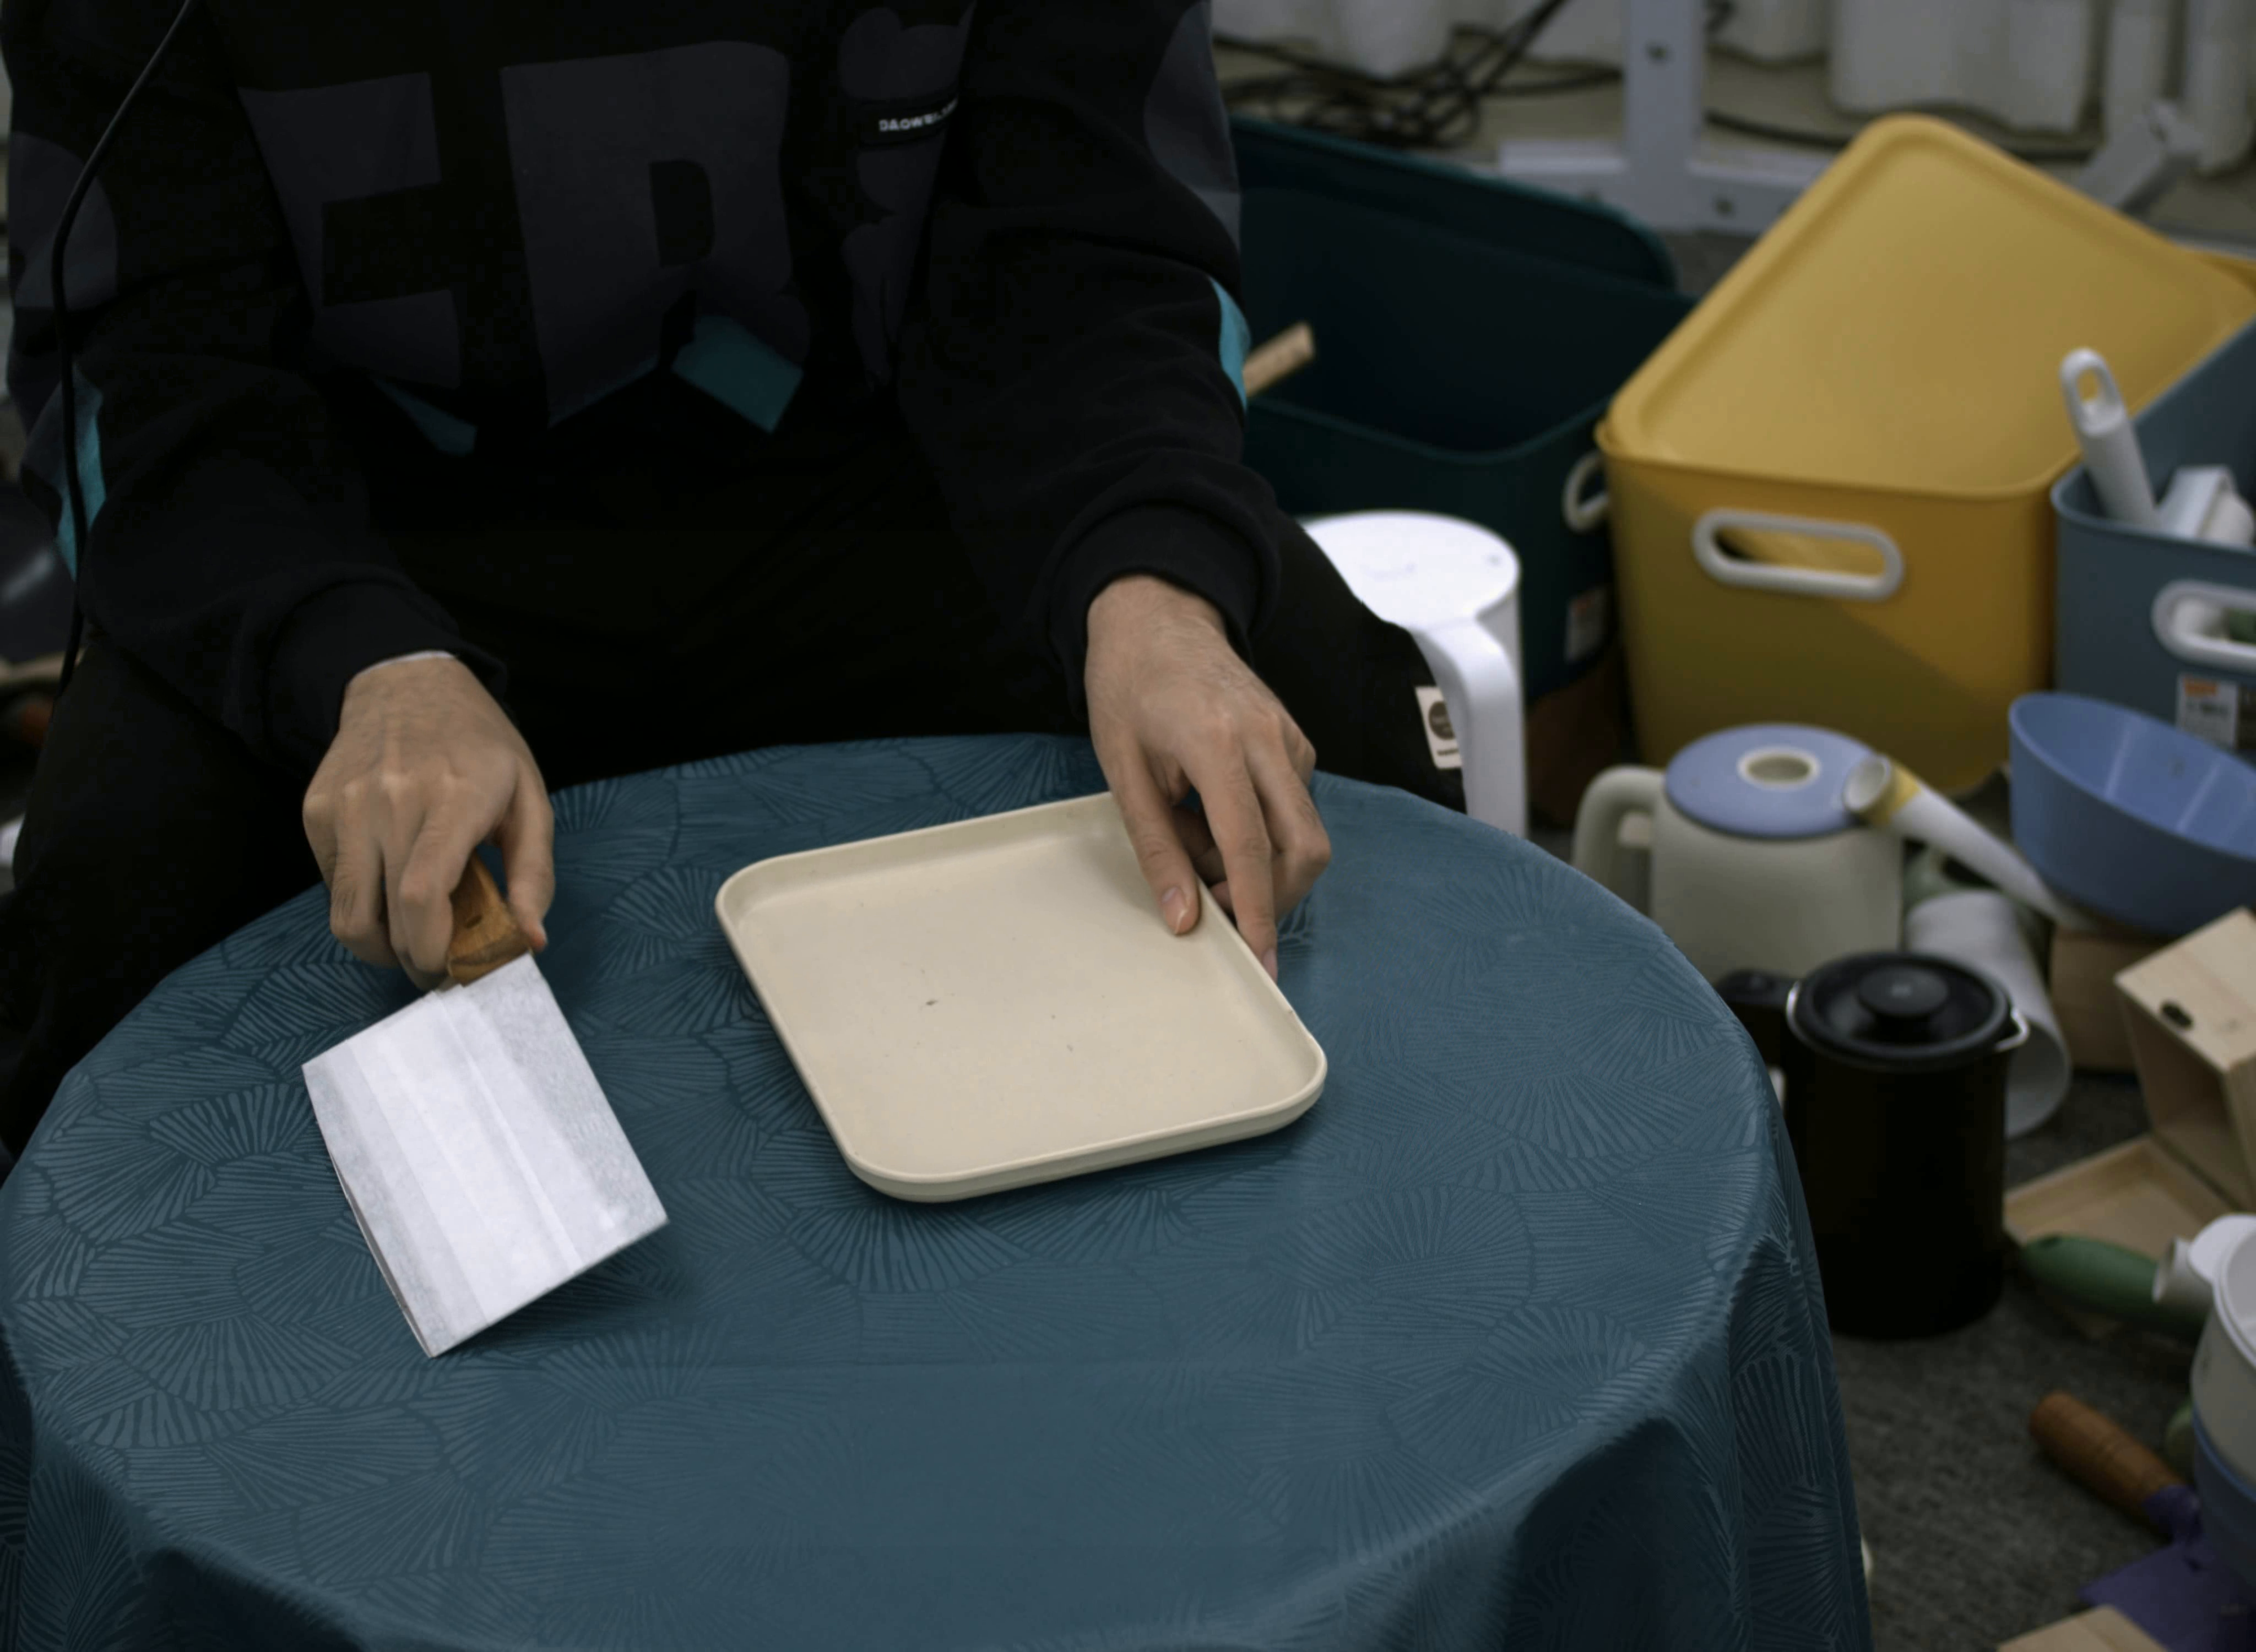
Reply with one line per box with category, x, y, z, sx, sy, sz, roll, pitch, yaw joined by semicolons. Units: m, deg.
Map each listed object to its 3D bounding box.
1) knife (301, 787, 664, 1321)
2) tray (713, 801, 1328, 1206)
knife;-0.236;0.078;1.921;0.093;0.021;0.308;-31;34;-4
tray;-0.041;0.061;1.963;0.171;0.017;0.242;-11;29;-14
